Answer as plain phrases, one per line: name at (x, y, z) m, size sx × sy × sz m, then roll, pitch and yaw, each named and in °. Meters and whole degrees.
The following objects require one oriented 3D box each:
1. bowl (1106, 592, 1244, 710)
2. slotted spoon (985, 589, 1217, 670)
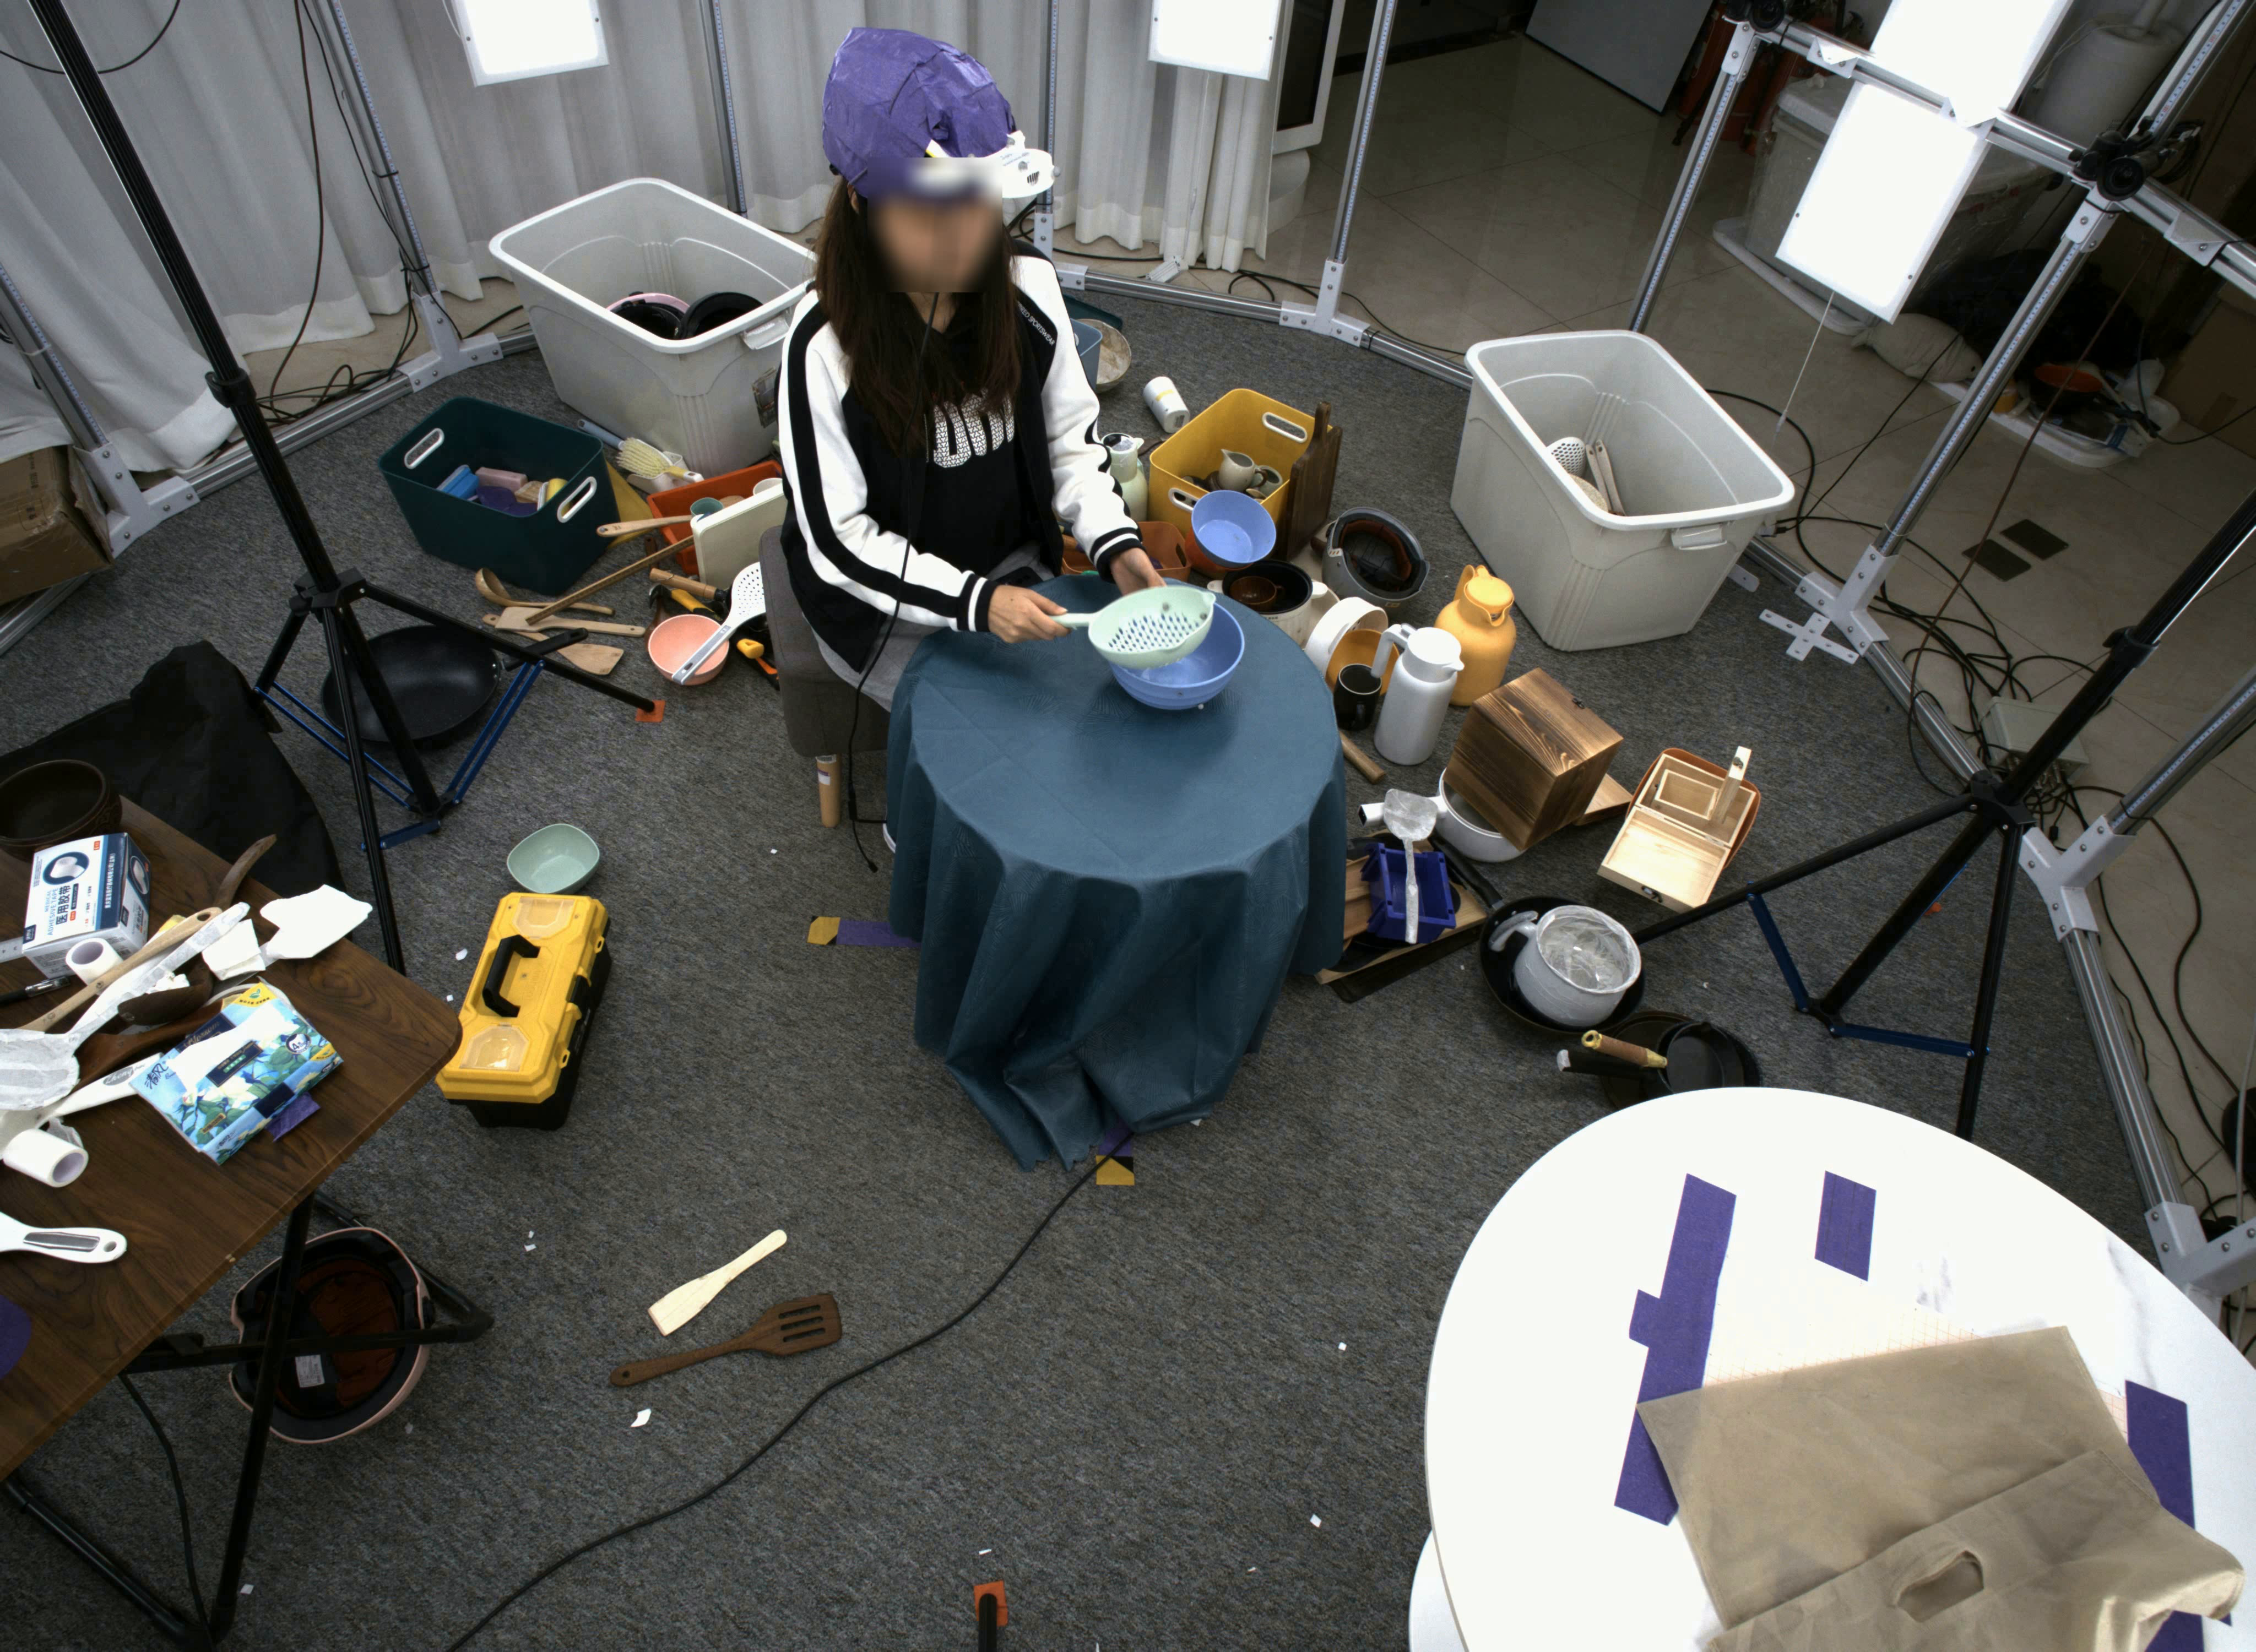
bowl at (0.061, -0.232, 1.814) m, size 0.196 × 0.093 × 0.201 m, roll 2°, pitch 49°, yaw -2°
slotted spoon at (-0.051, -0.275, 1.773) m, size 0.361 × 0.073 × 0.172 m, roll 12°, pitch 40°, yaw 25°
